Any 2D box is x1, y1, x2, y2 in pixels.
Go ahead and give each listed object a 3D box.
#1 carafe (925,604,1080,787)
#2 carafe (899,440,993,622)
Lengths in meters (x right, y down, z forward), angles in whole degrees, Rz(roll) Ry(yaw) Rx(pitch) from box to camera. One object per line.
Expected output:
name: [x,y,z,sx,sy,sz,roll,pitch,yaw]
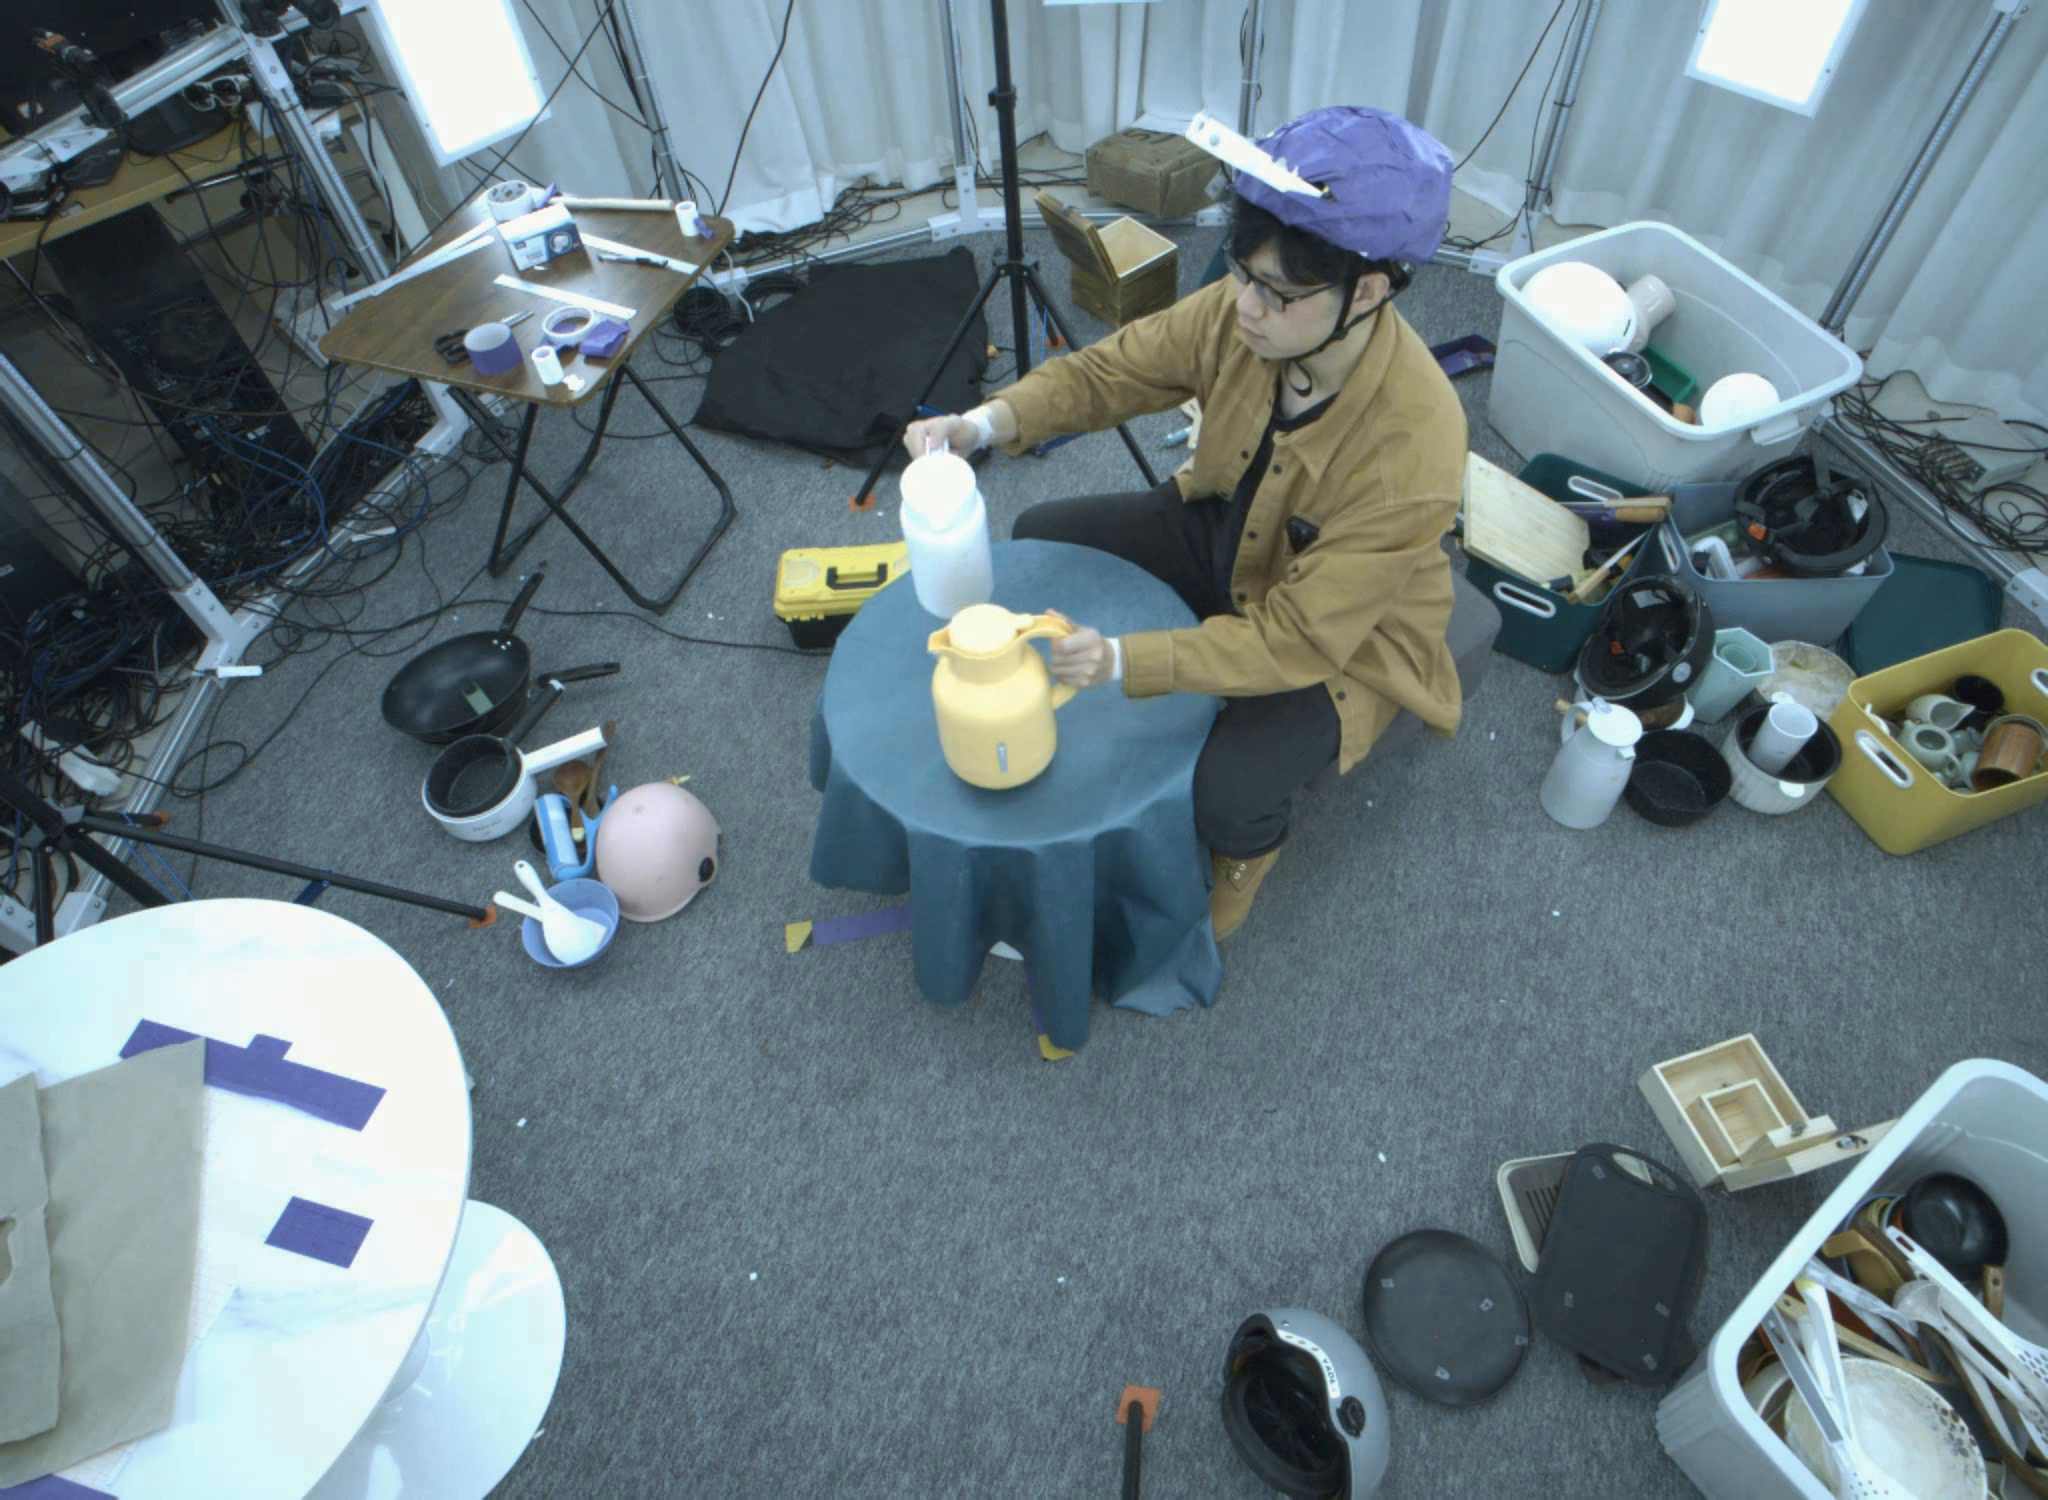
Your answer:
carafe: [-0.024,-0.081,1.659,0.202,0.264,0.161,-10,53,0]
carafe: [-0.113,-0.310,1.728,0.124,0.271,0.171,-5,65,2]
